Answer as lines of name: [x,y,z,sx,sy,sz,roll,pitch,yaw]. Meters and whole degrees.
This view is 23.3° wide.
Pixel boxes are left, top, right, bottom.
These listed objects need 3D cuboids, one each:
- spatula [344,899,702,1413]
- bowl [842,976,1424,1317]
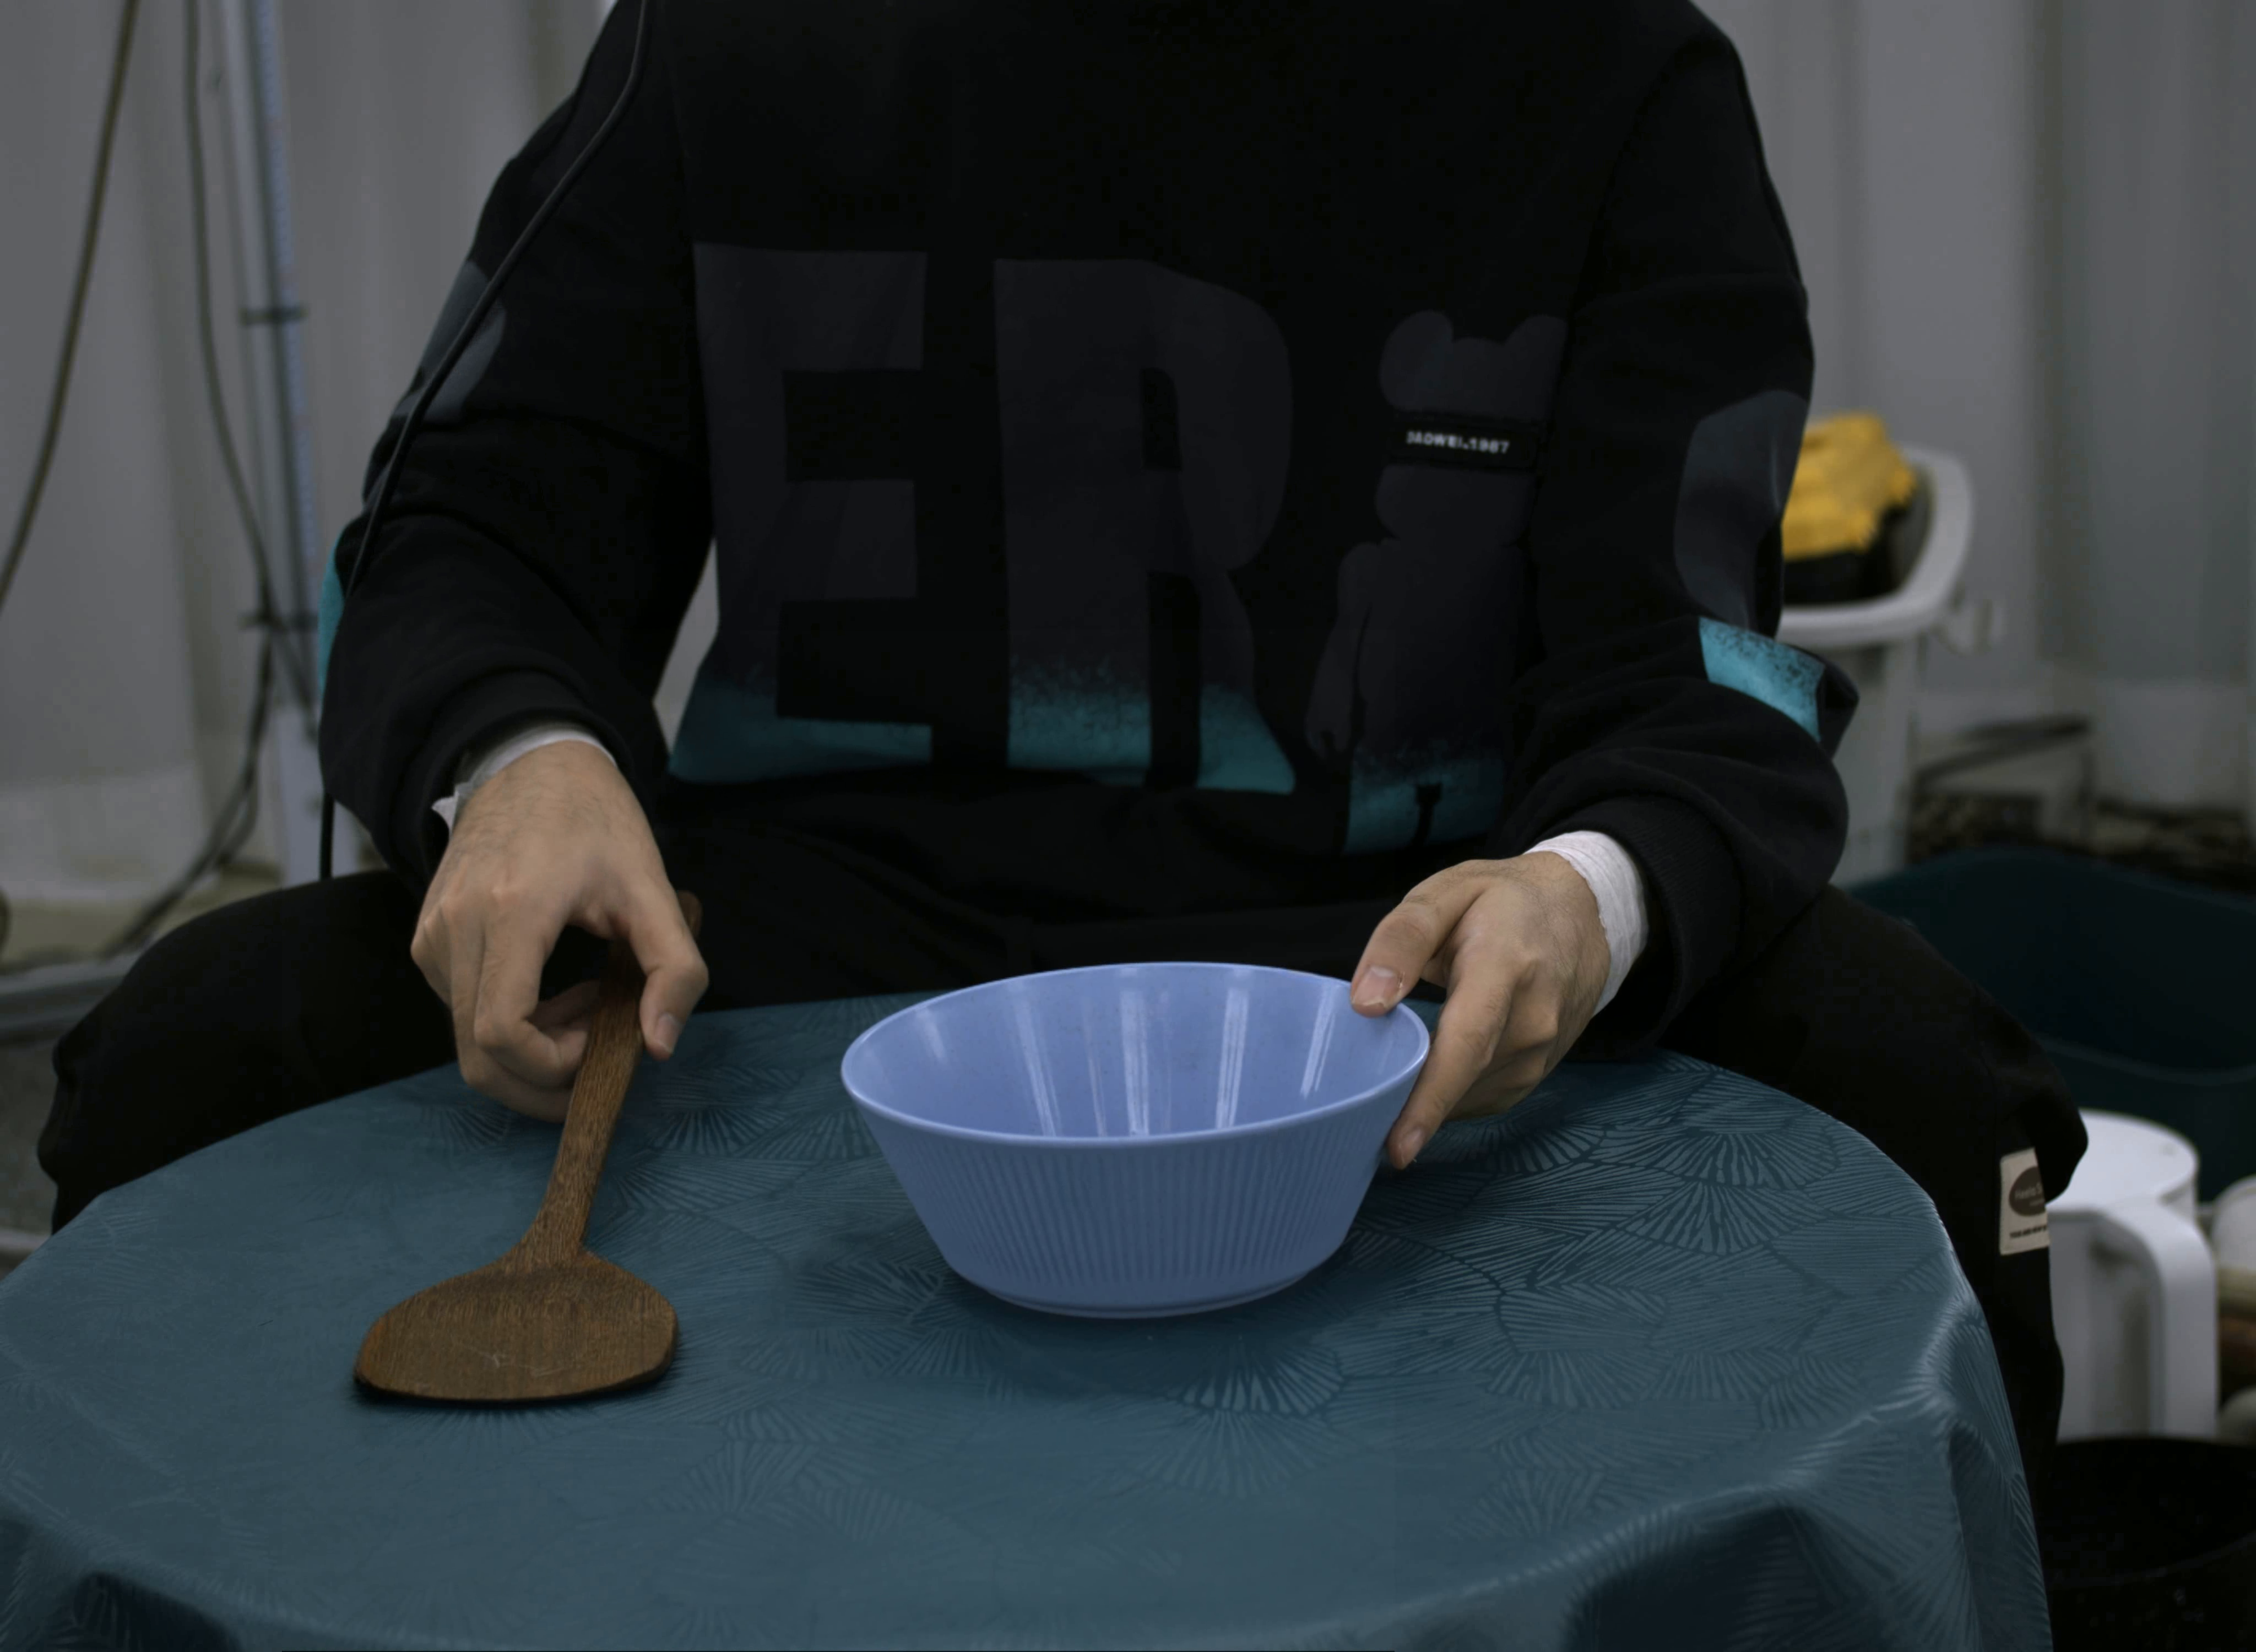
spatula: [-0.171,0.096,1.734,0.096,0.015,0.389,-1,21,3]
bowl: [0.003,0.098,1.643,0.175,0.070,0.177,-2,14,0]
